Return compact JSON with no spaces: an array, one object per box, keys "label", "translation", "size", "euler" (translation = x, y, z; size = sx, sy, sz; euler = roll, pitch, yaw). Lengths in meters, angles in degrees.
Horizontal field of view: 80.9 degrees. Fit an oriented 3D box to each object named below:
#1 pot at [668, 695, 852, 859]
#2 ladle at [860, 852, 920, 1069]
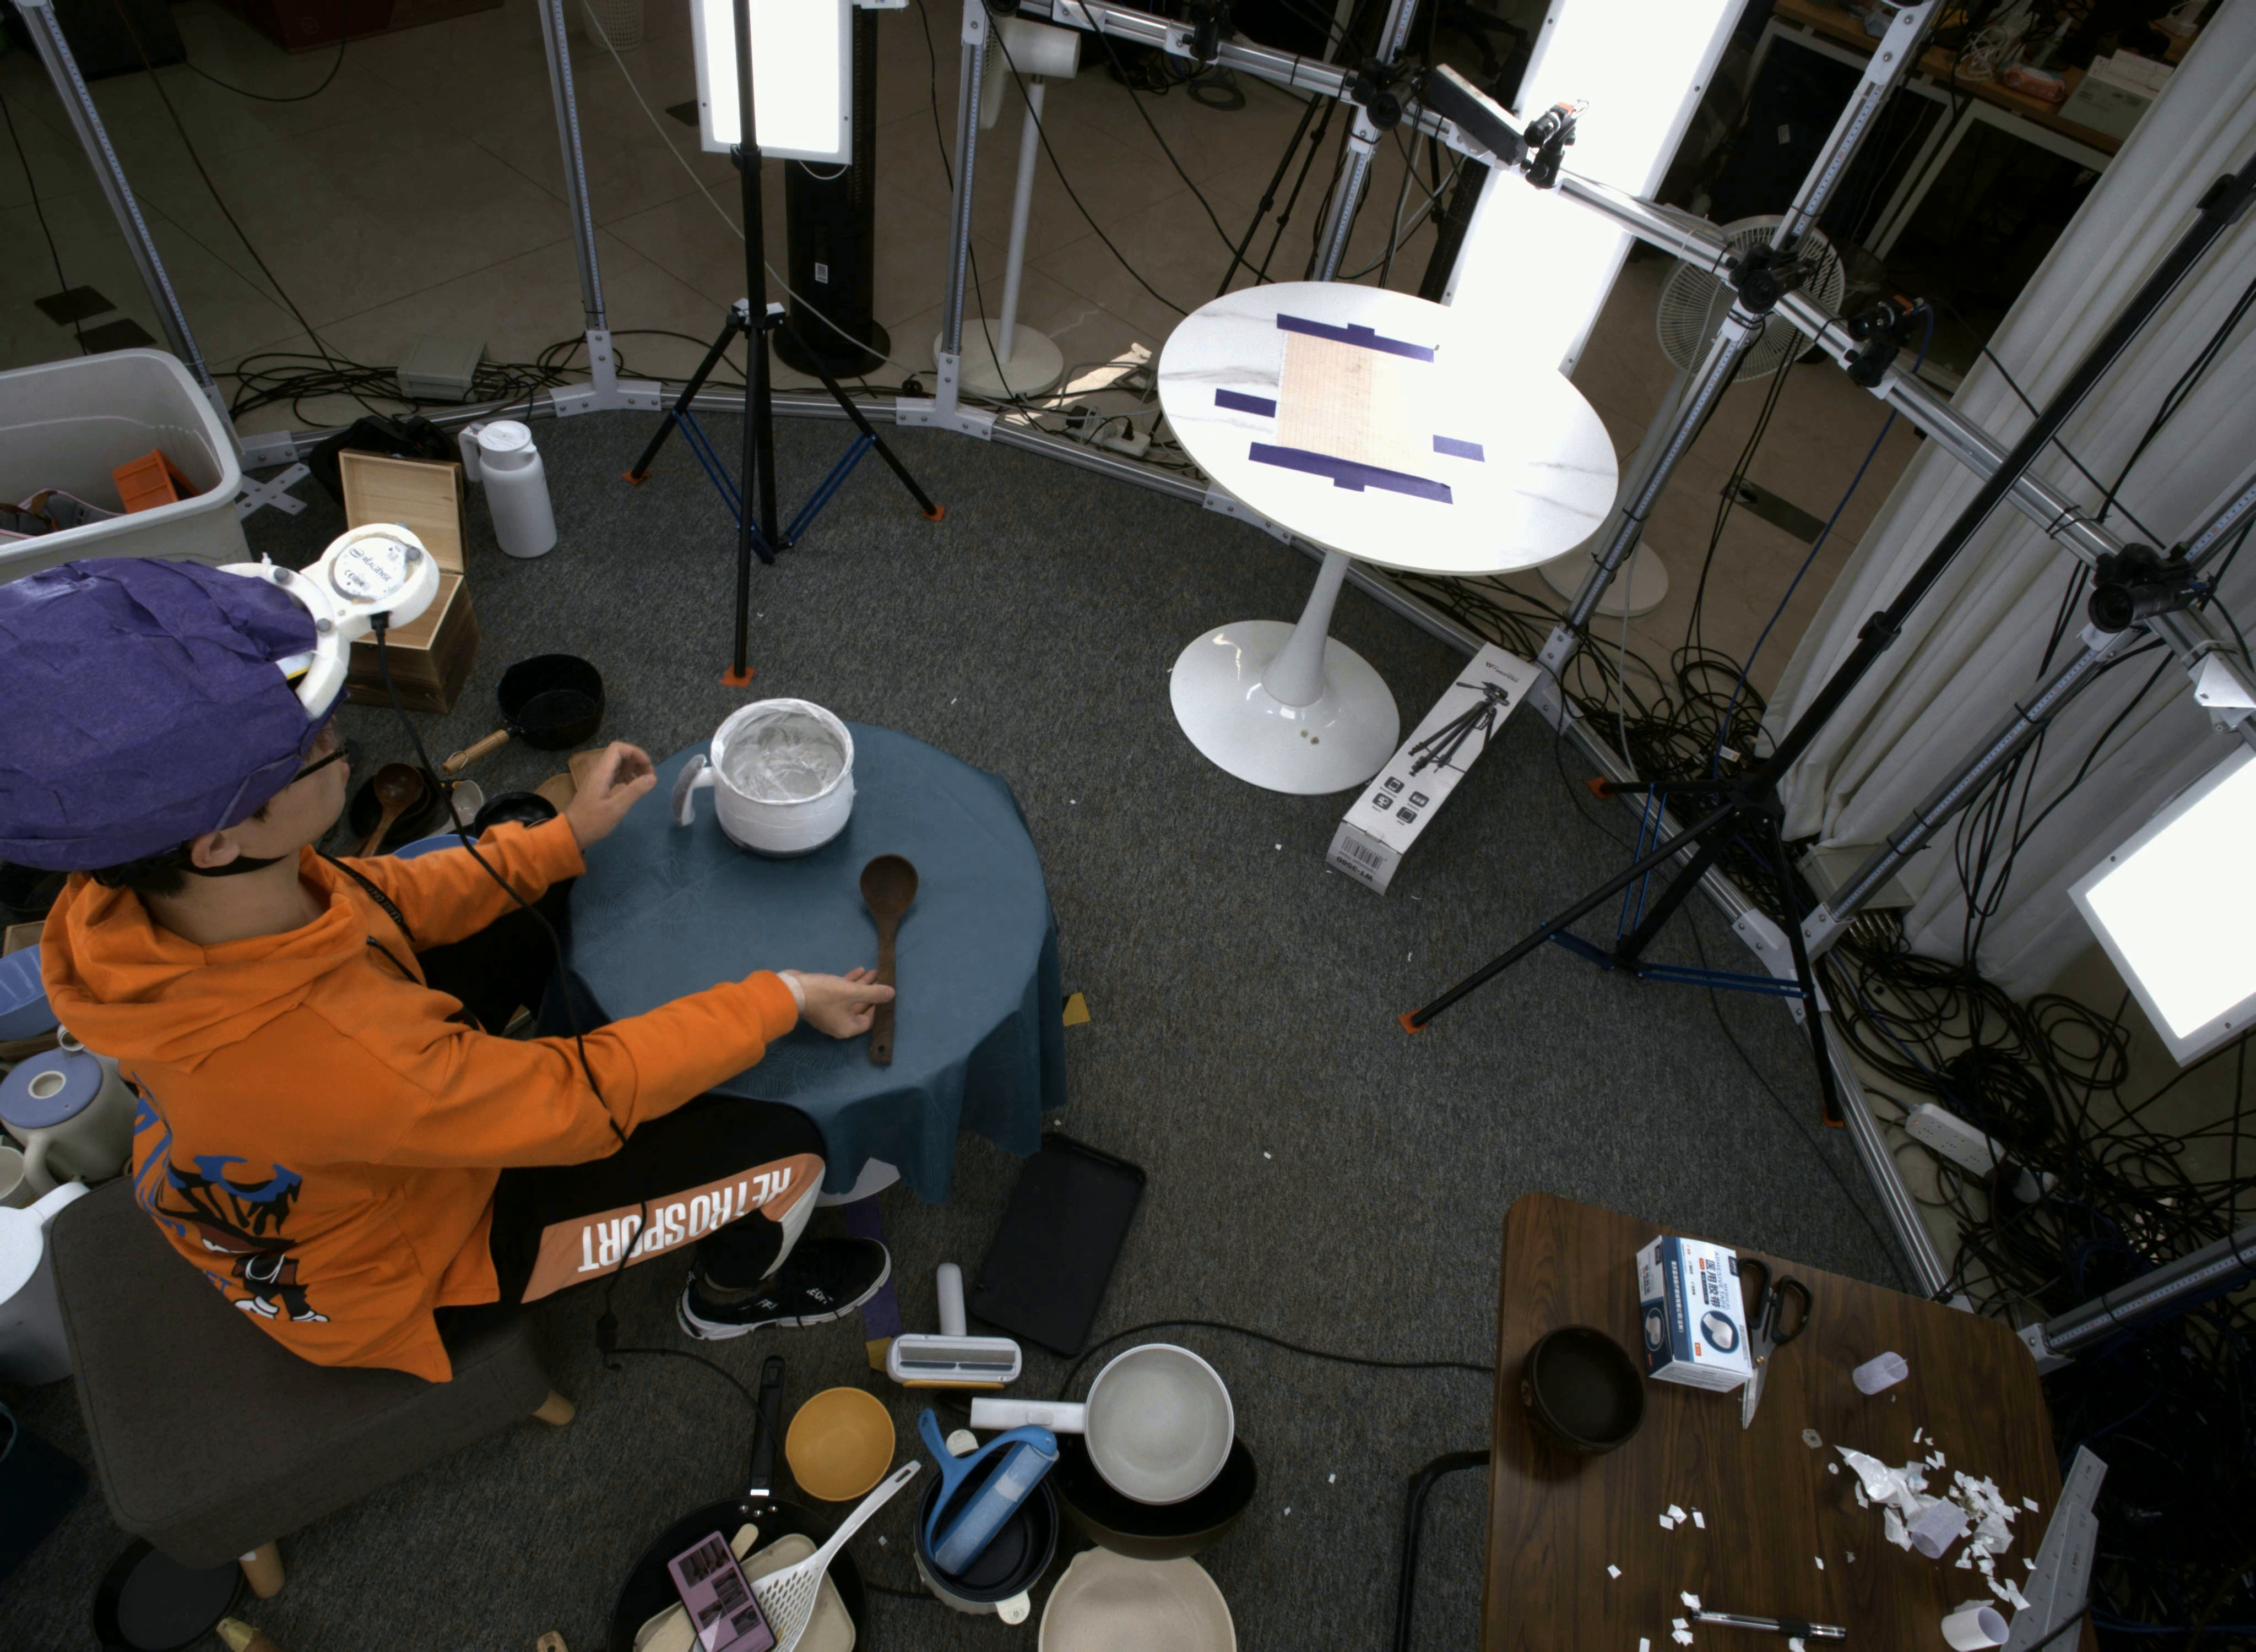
[{"label":"pot","translation":[-0.471,-0.055,1.654],"size":[0.235,0.139,0.174],"euler":[-10,55,-21]},{"label":"ladle","translation":[-0.294,0.155,1.587],"size":[0.076,0.073,0.268],"euler":[3,52,-11]}]
